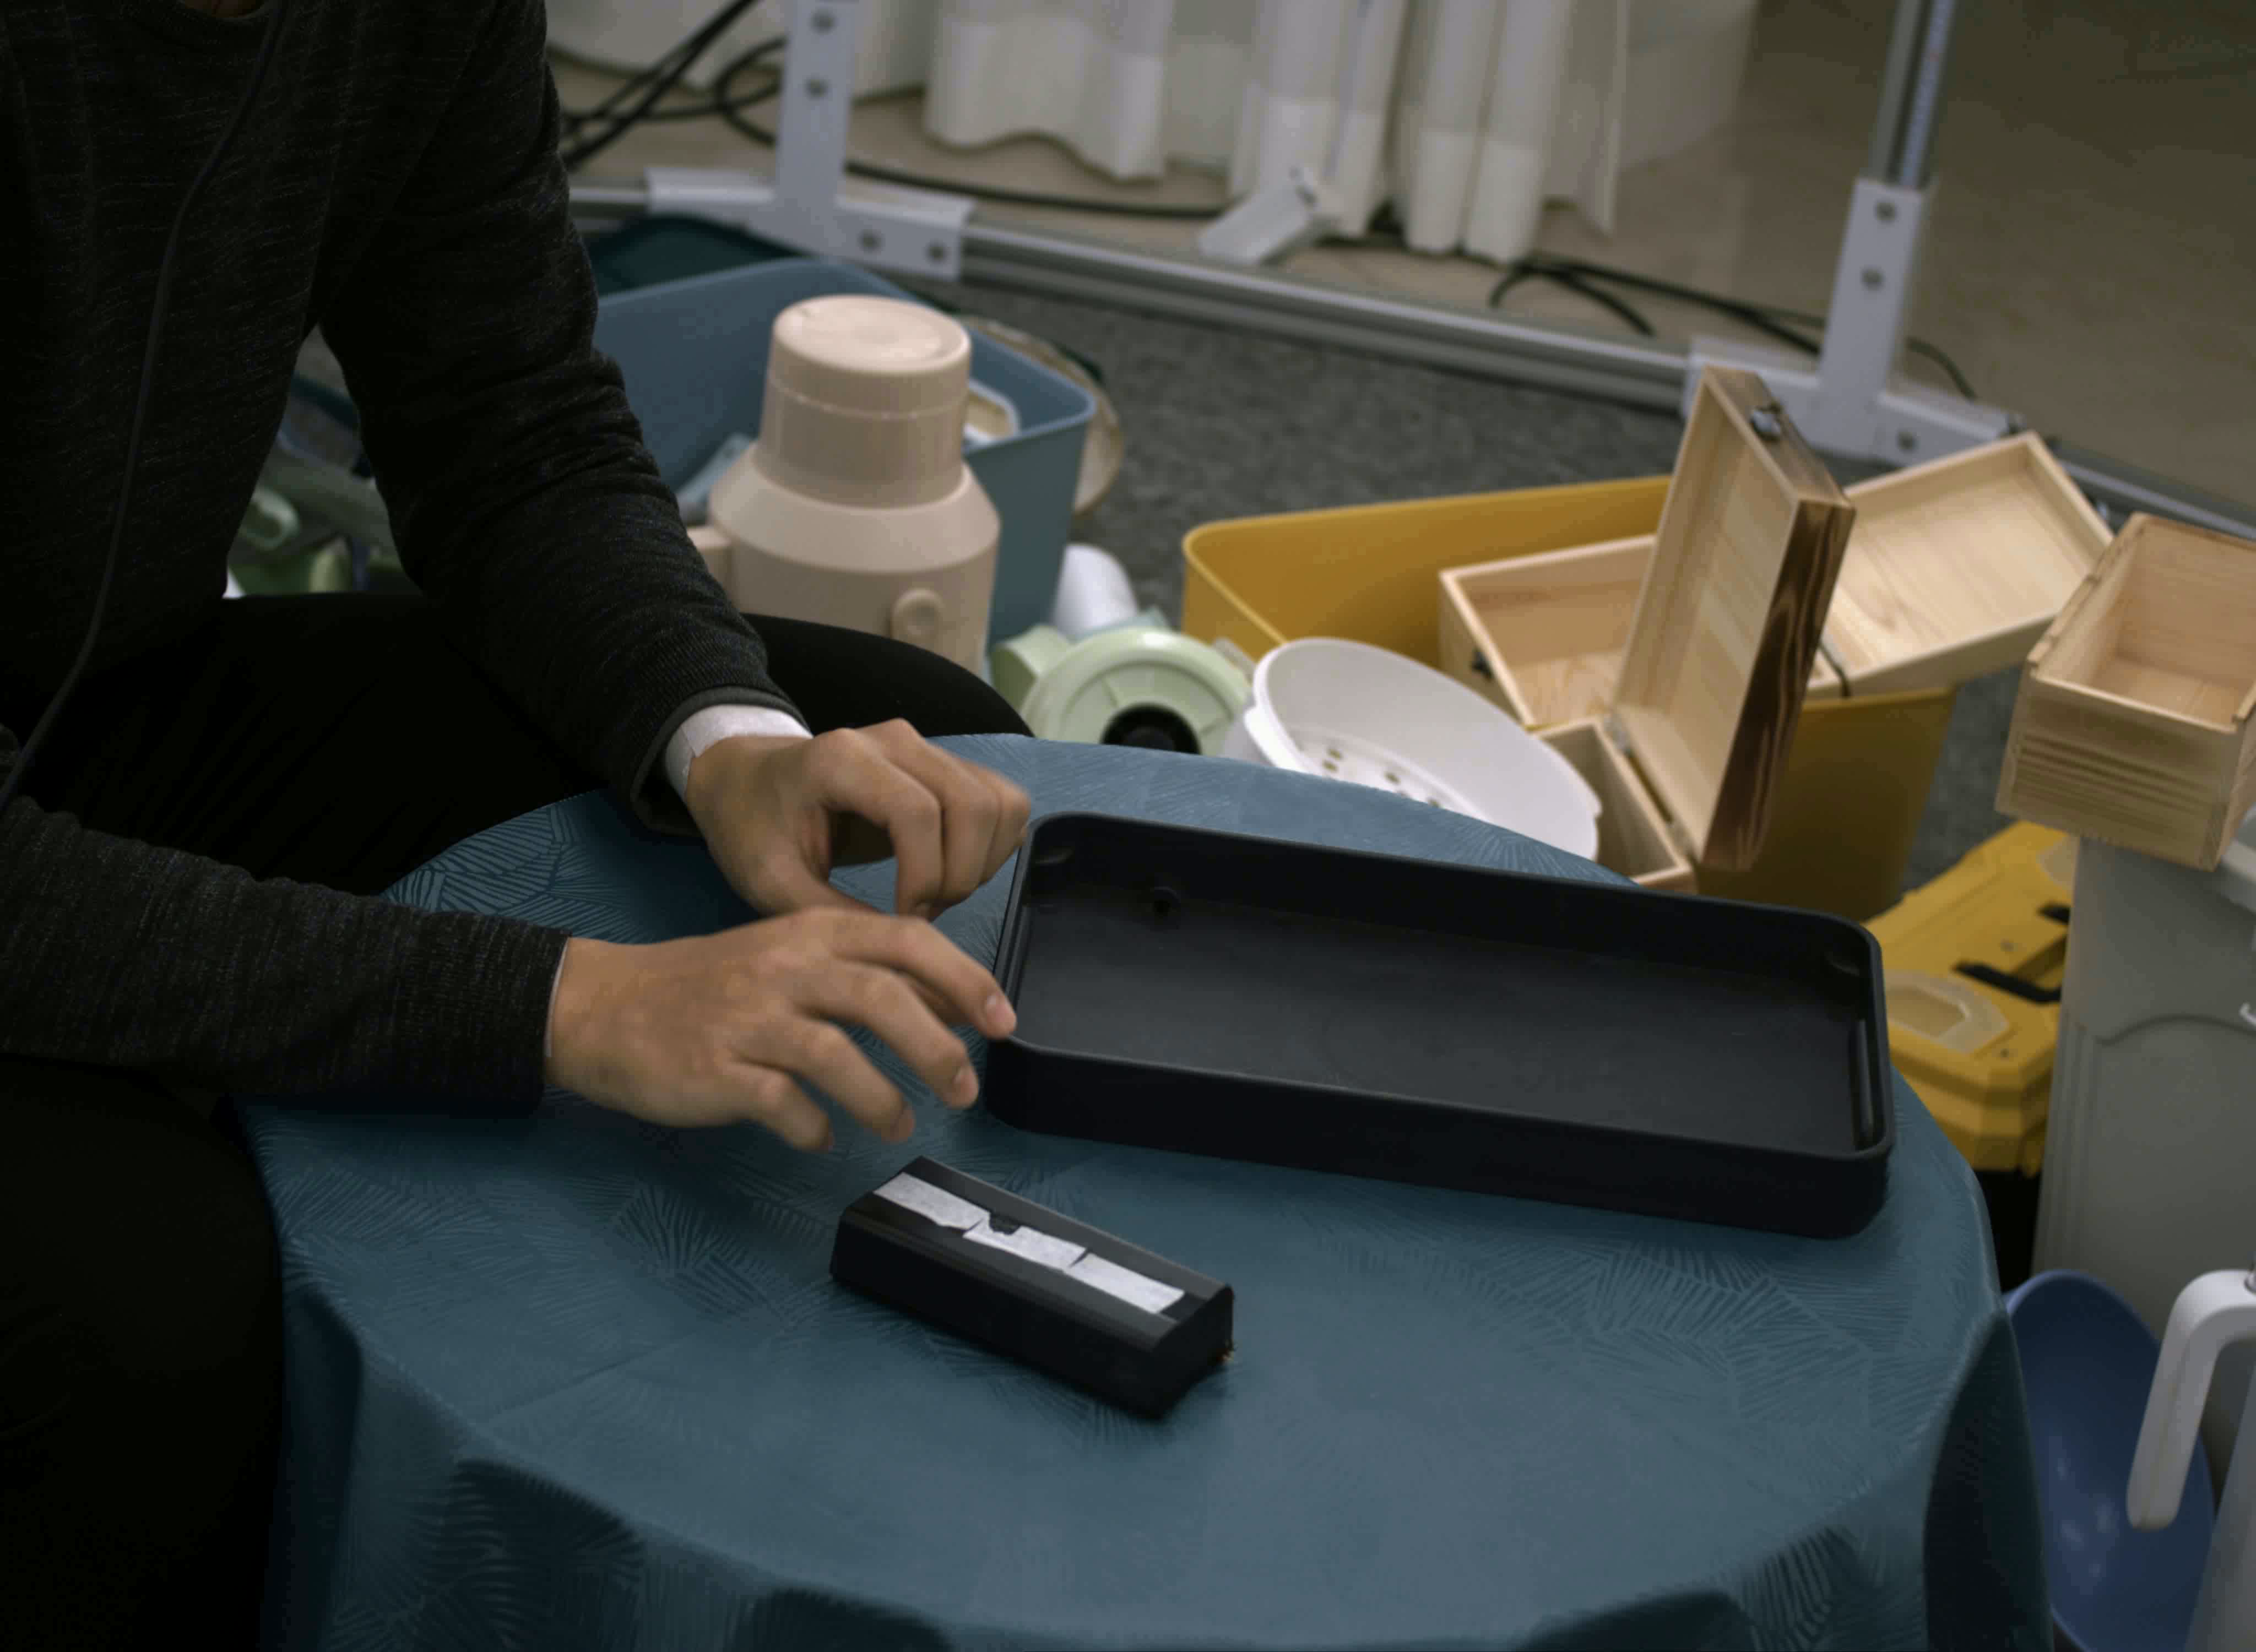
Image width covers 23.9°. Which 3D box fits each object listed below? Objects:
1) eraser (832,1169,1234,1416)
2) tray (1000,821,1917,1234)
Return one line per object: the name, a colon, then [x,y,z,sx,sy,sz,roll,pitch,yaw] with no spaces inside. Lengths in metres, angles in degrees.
eraser: [-0.031,0.149,1.714,0.126,0.030,0.053,20,27,26]
tray: [0.116,0.070,1.896,0.317,0.037,0.185,6,27,1]
